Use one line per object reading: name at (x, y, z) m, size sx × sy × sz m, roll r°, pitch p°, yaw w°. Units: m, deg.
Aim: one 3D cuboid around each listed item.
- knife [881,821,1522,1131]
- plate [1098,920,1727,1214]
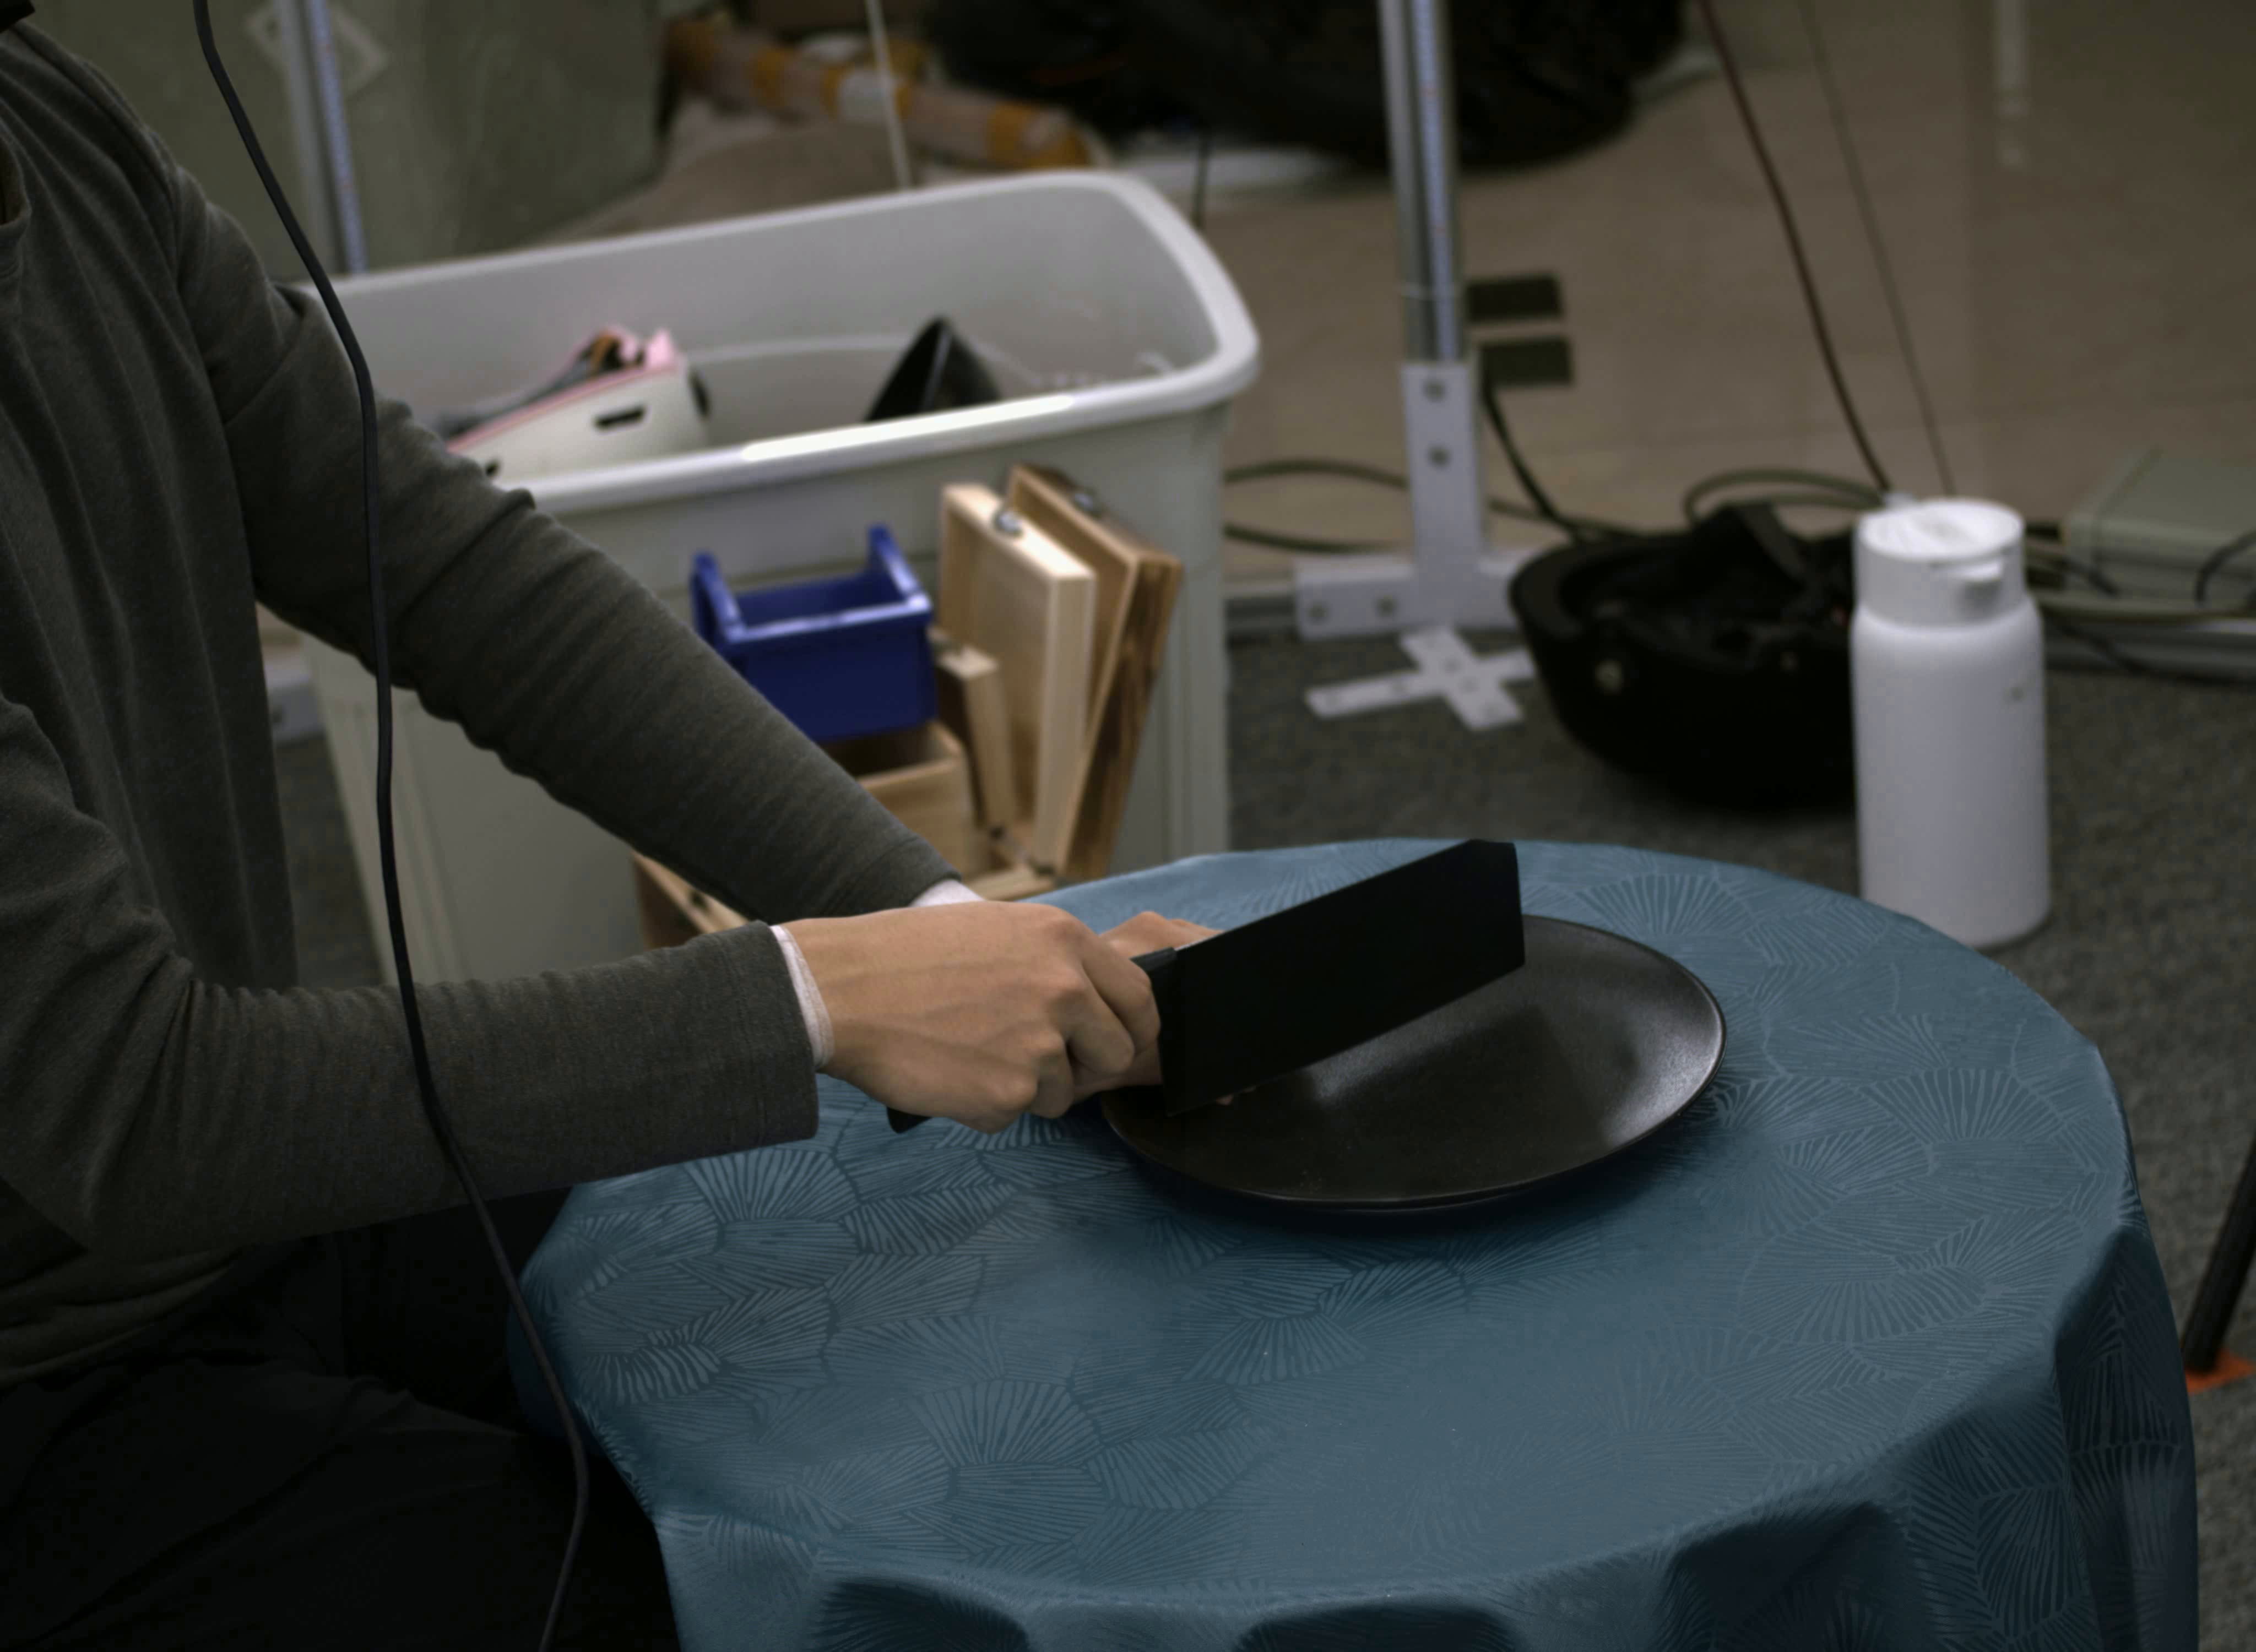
knife at (0.034, 0.066, 2.158) m, size 0.301 × 0.082 × 0.020 m, roll -15°, pitch 22°, yaw -33°
plate at (0.110, 0.096, 2.189) m, size 0.244 × 0.024 × 0.241 m, roll -6°, pitch 25°, yaw 3°
